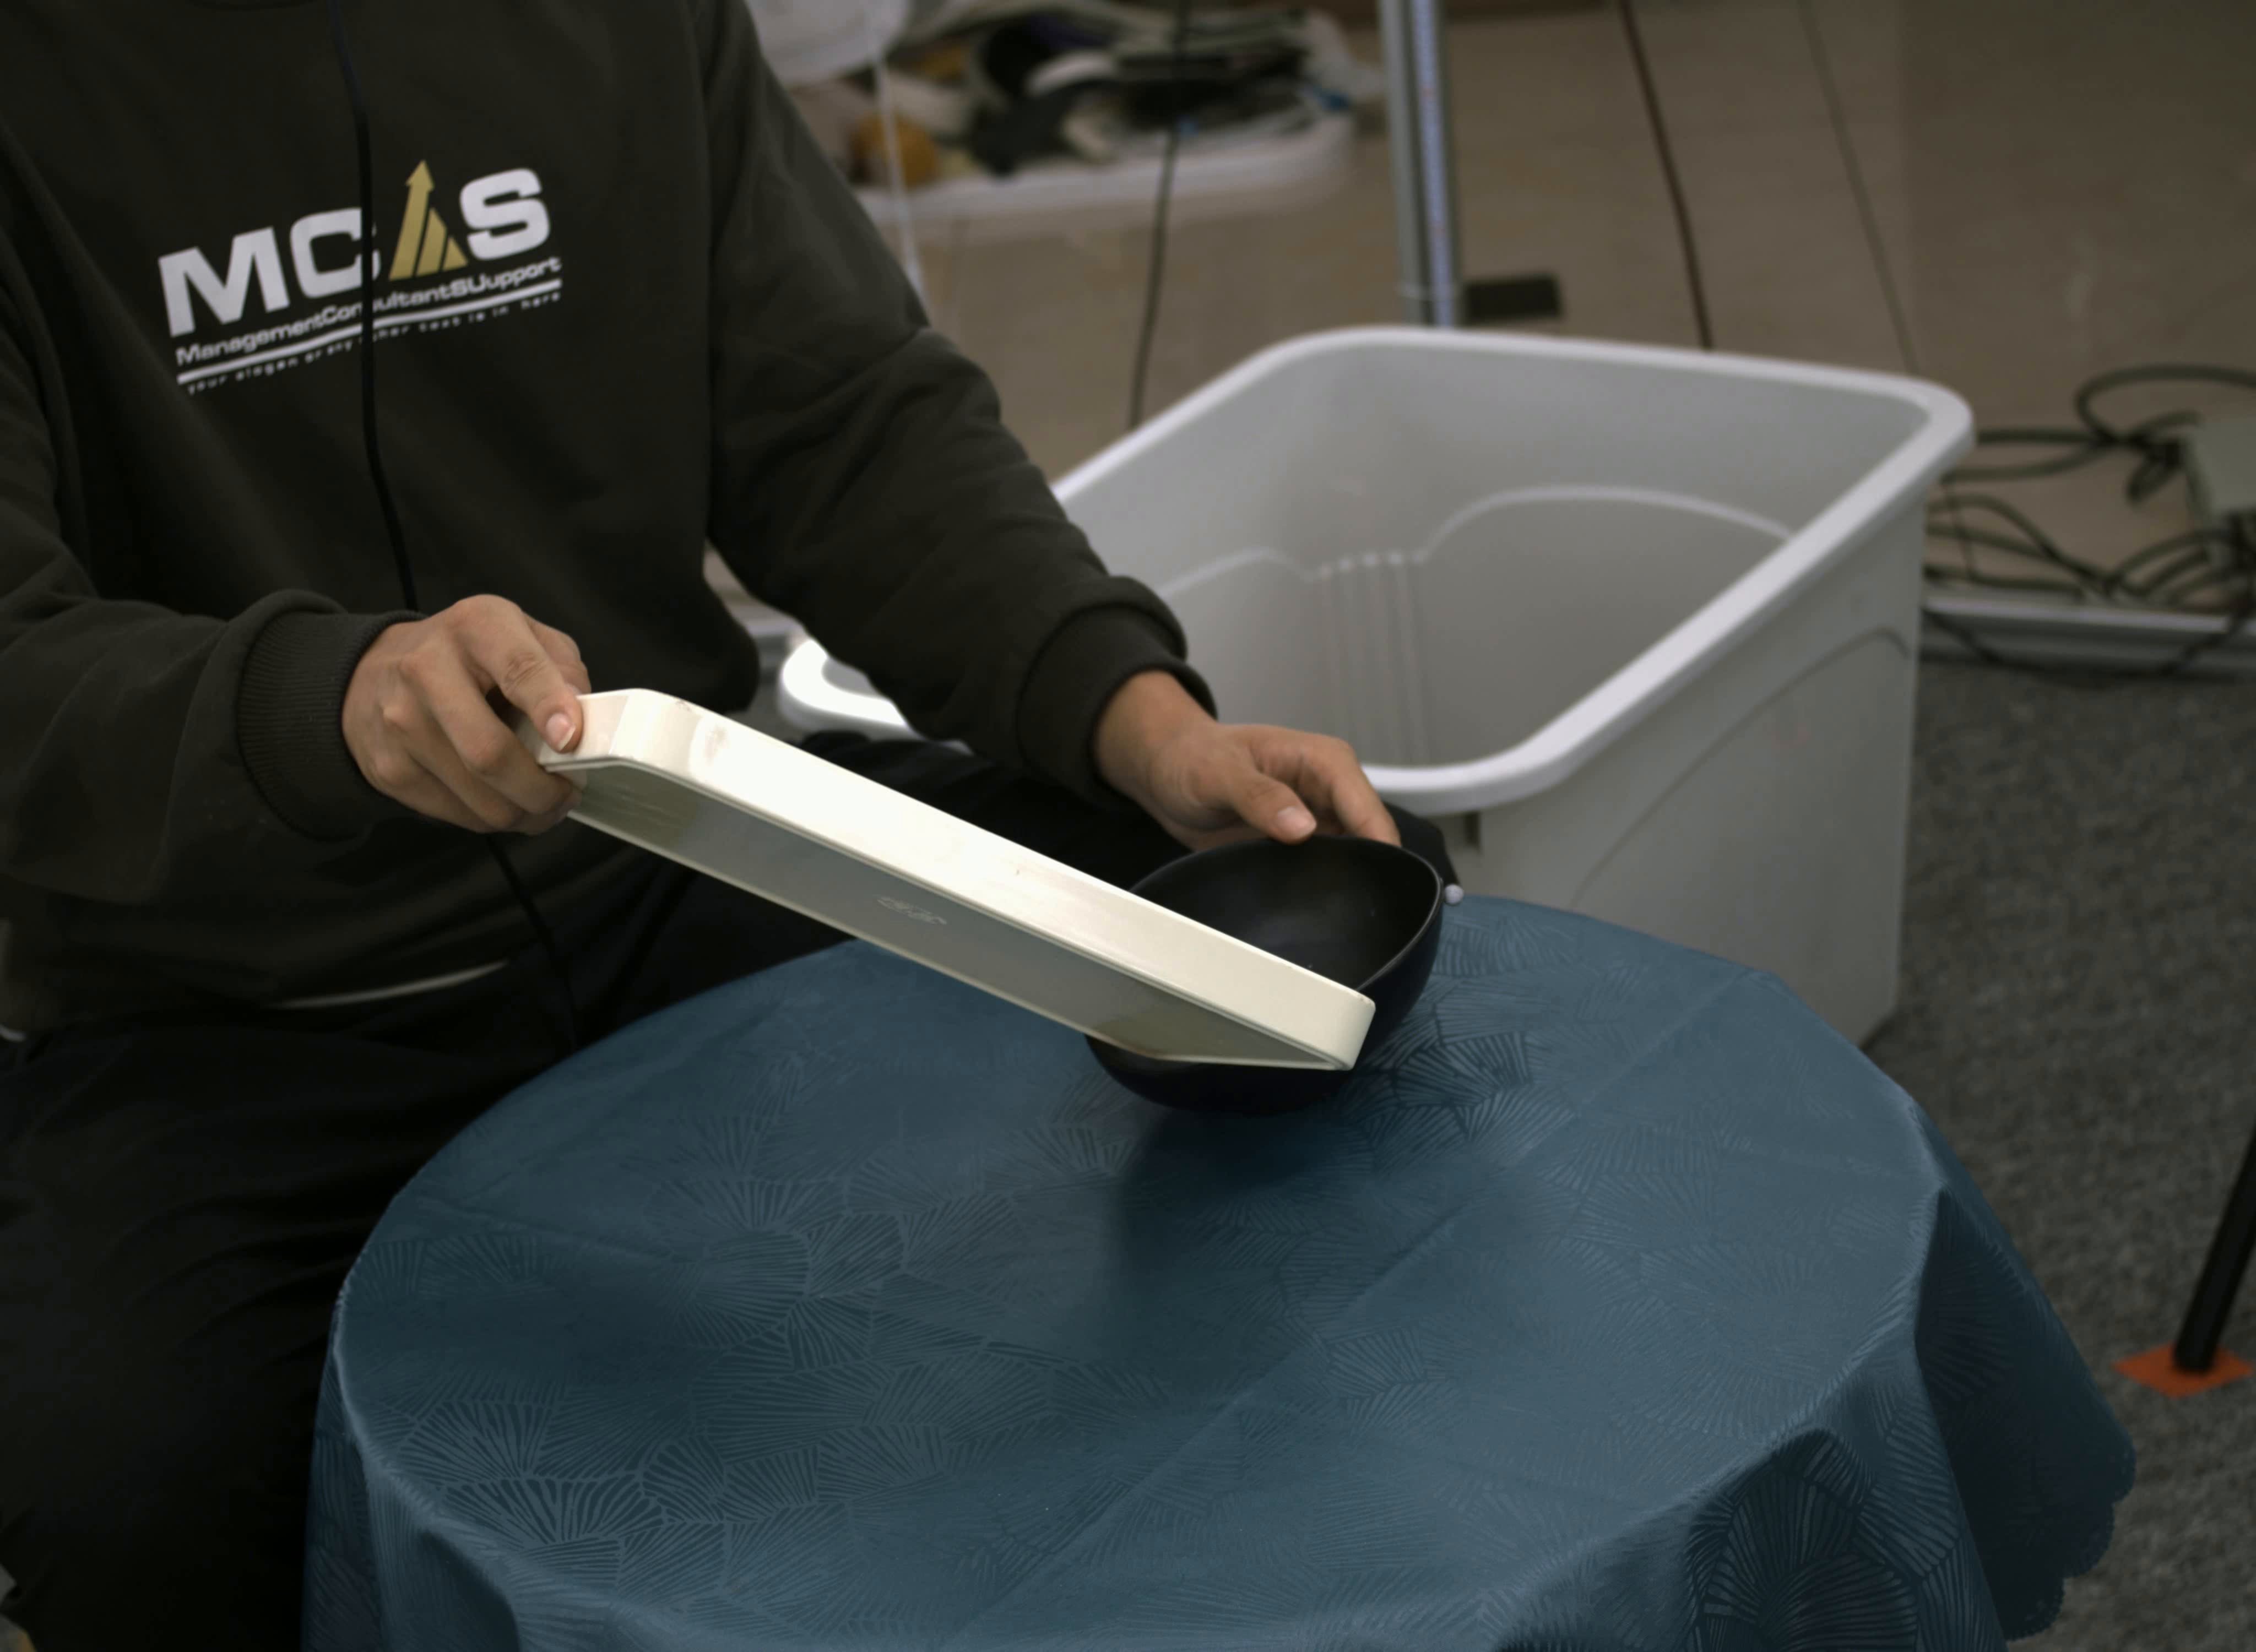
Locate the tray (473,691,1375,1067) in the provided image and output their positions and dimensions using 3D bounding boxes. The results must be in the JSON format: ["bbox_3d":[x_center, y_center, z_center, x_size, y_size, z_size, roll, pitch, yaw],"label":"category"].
[{"bbox_3d":[-0.075,0.022,2.036,0.302,0.027,0.191,24,-10,-22],"label":"tray"}]

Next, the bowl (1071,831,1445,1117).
[{"bbox_3d":[0.055,0.068,2.207,0.136,0.068,0.168,9,36,34],"label":"bowl"}]
